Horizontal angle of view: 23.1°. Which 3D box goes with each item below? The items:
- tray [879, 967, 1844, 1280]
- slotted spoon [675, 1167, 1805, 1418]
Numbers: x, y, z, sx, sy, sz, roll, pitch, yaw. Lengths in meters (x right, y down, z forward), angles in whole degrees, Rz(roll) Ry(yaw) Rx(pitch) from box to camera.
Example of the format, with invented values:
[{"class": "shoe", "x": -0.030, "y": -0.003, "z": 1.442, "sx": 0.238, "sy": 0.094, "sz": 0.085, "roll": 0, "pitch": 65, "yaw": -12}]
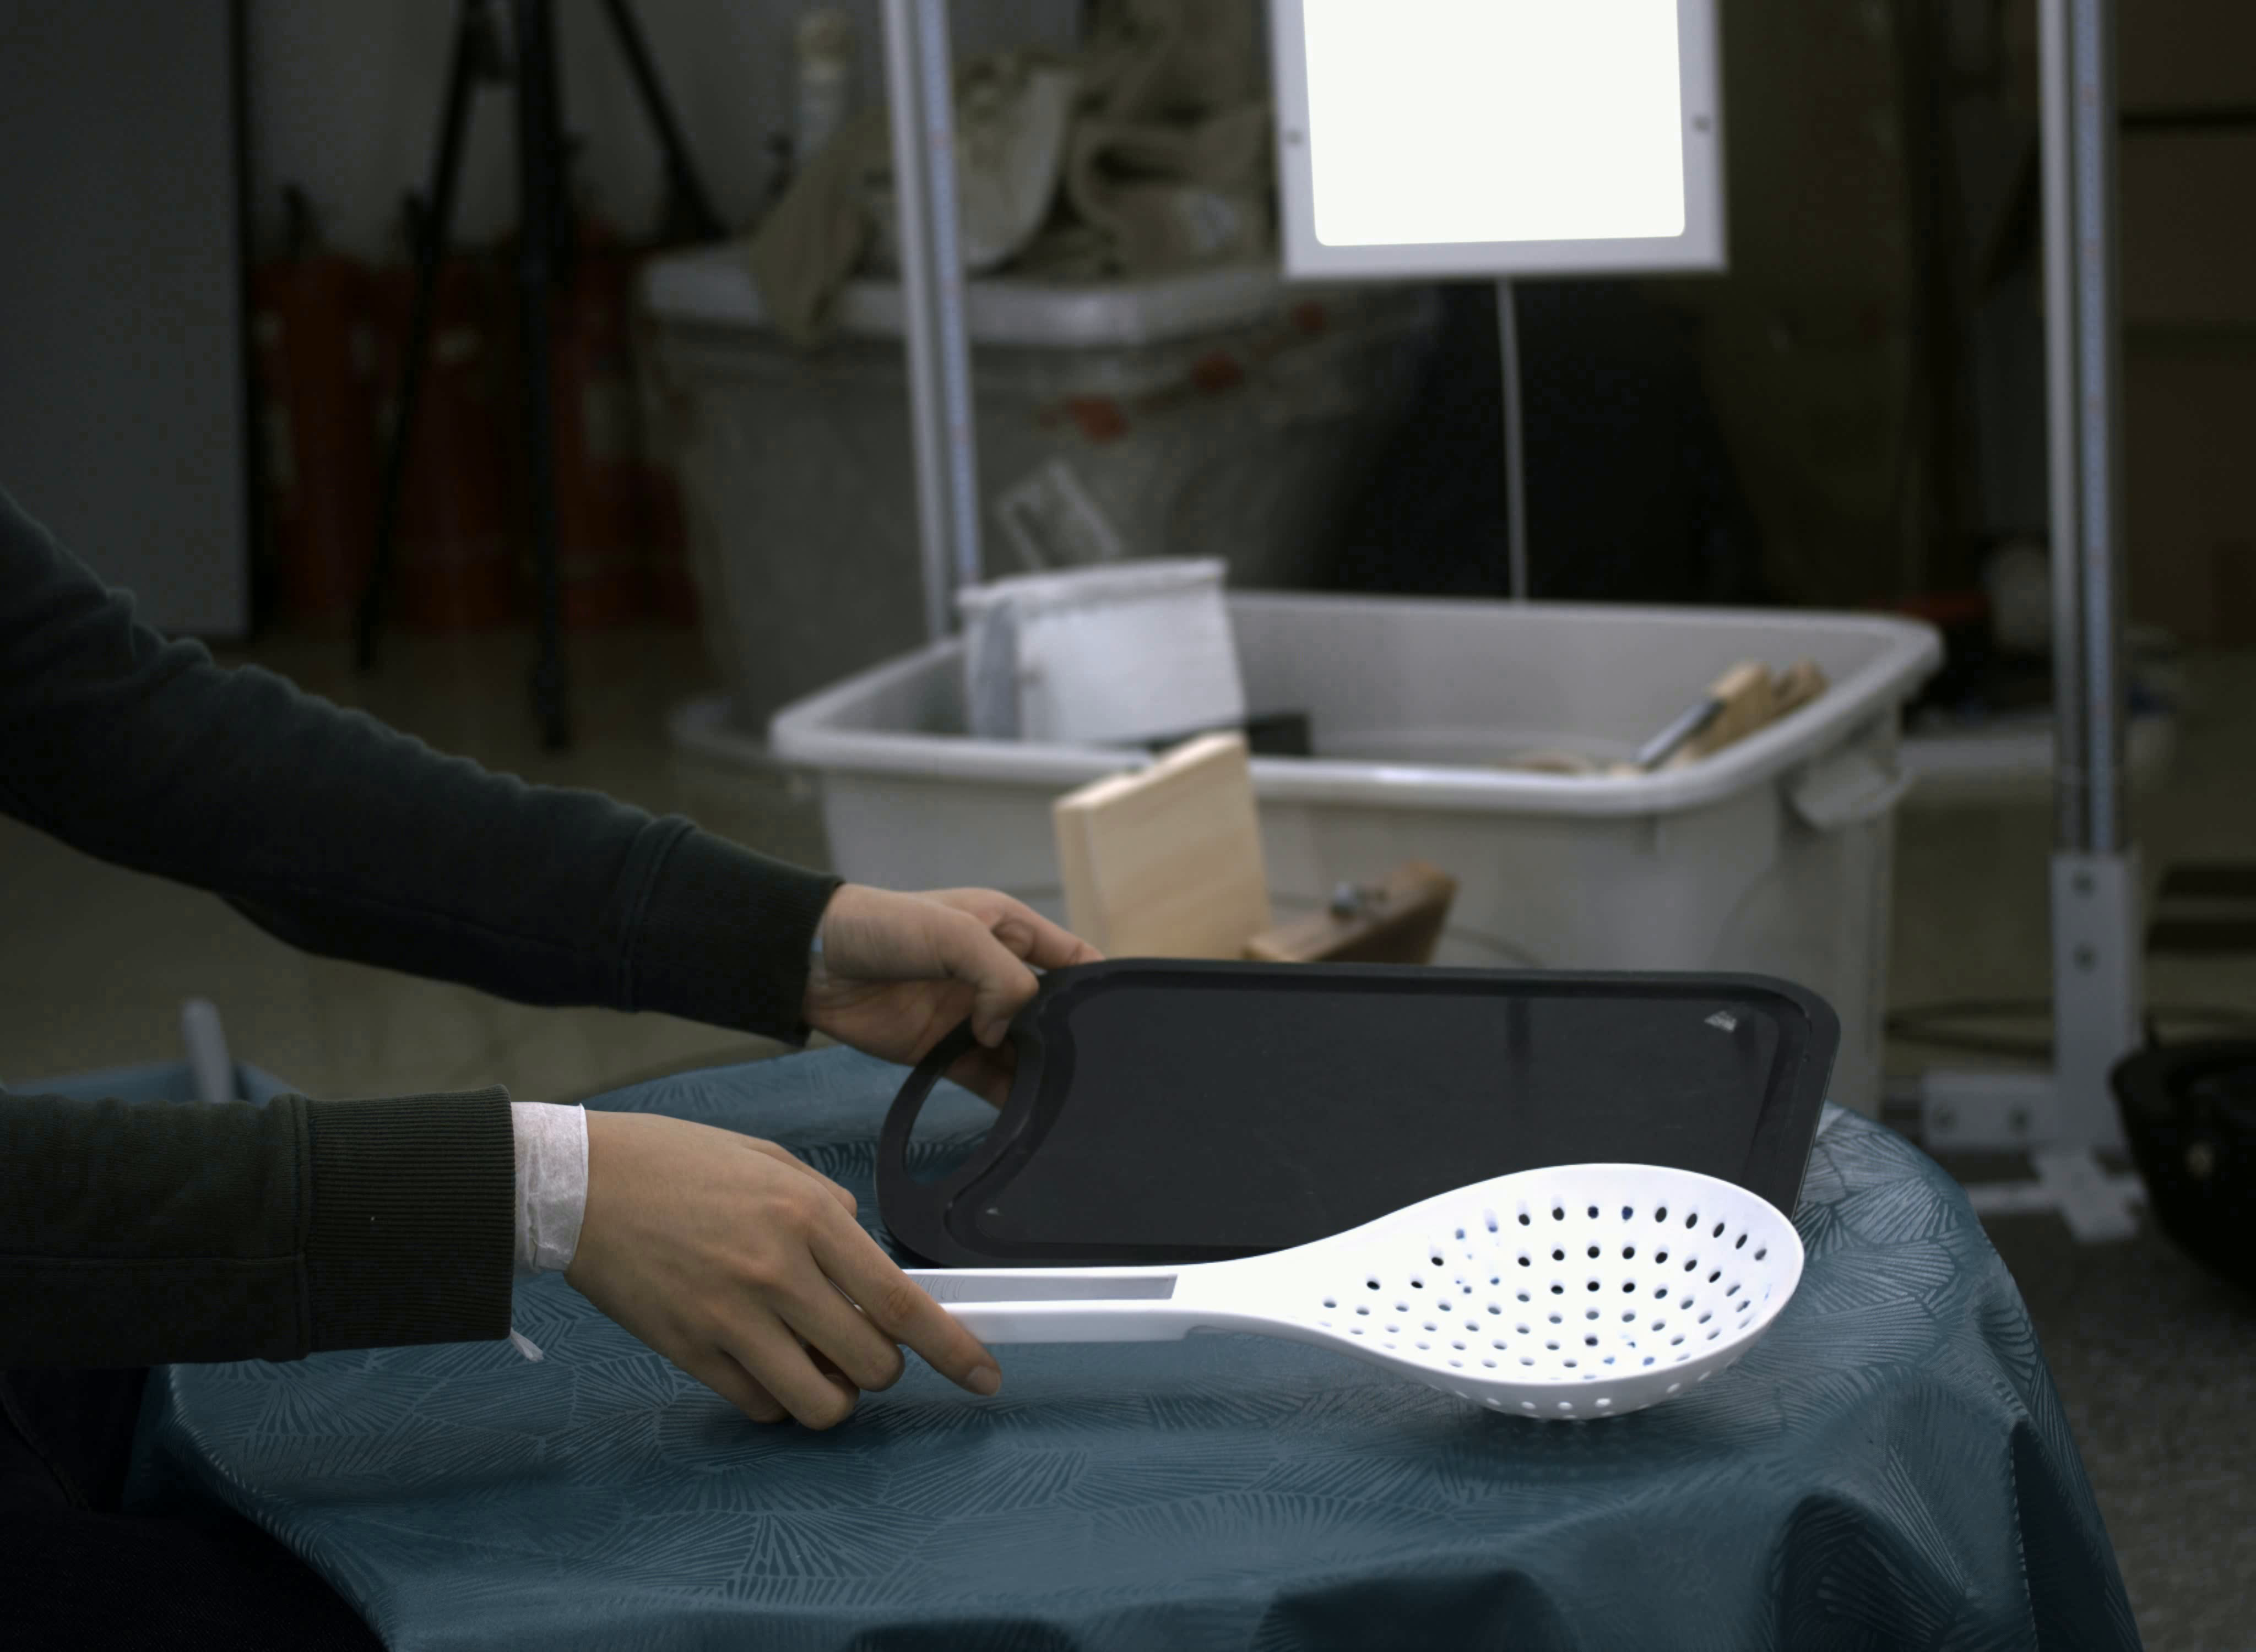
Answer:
[{"class": "tray", "x": 0.076, "y": 0.098, "z": 1.874, "sx": 0.329, "sy": 0.010, "sz": 0.208, "roll": 0, "pitch": 27, "yaw": 18}, {"class": "slotted spoon", "x": 0.031, "y": 0.144, "z": 1.680, "sx": 0.352, "sy": 0.046, "sz": 0.134, "roll": 2, "pitch": 24, "yaw": 12}]
